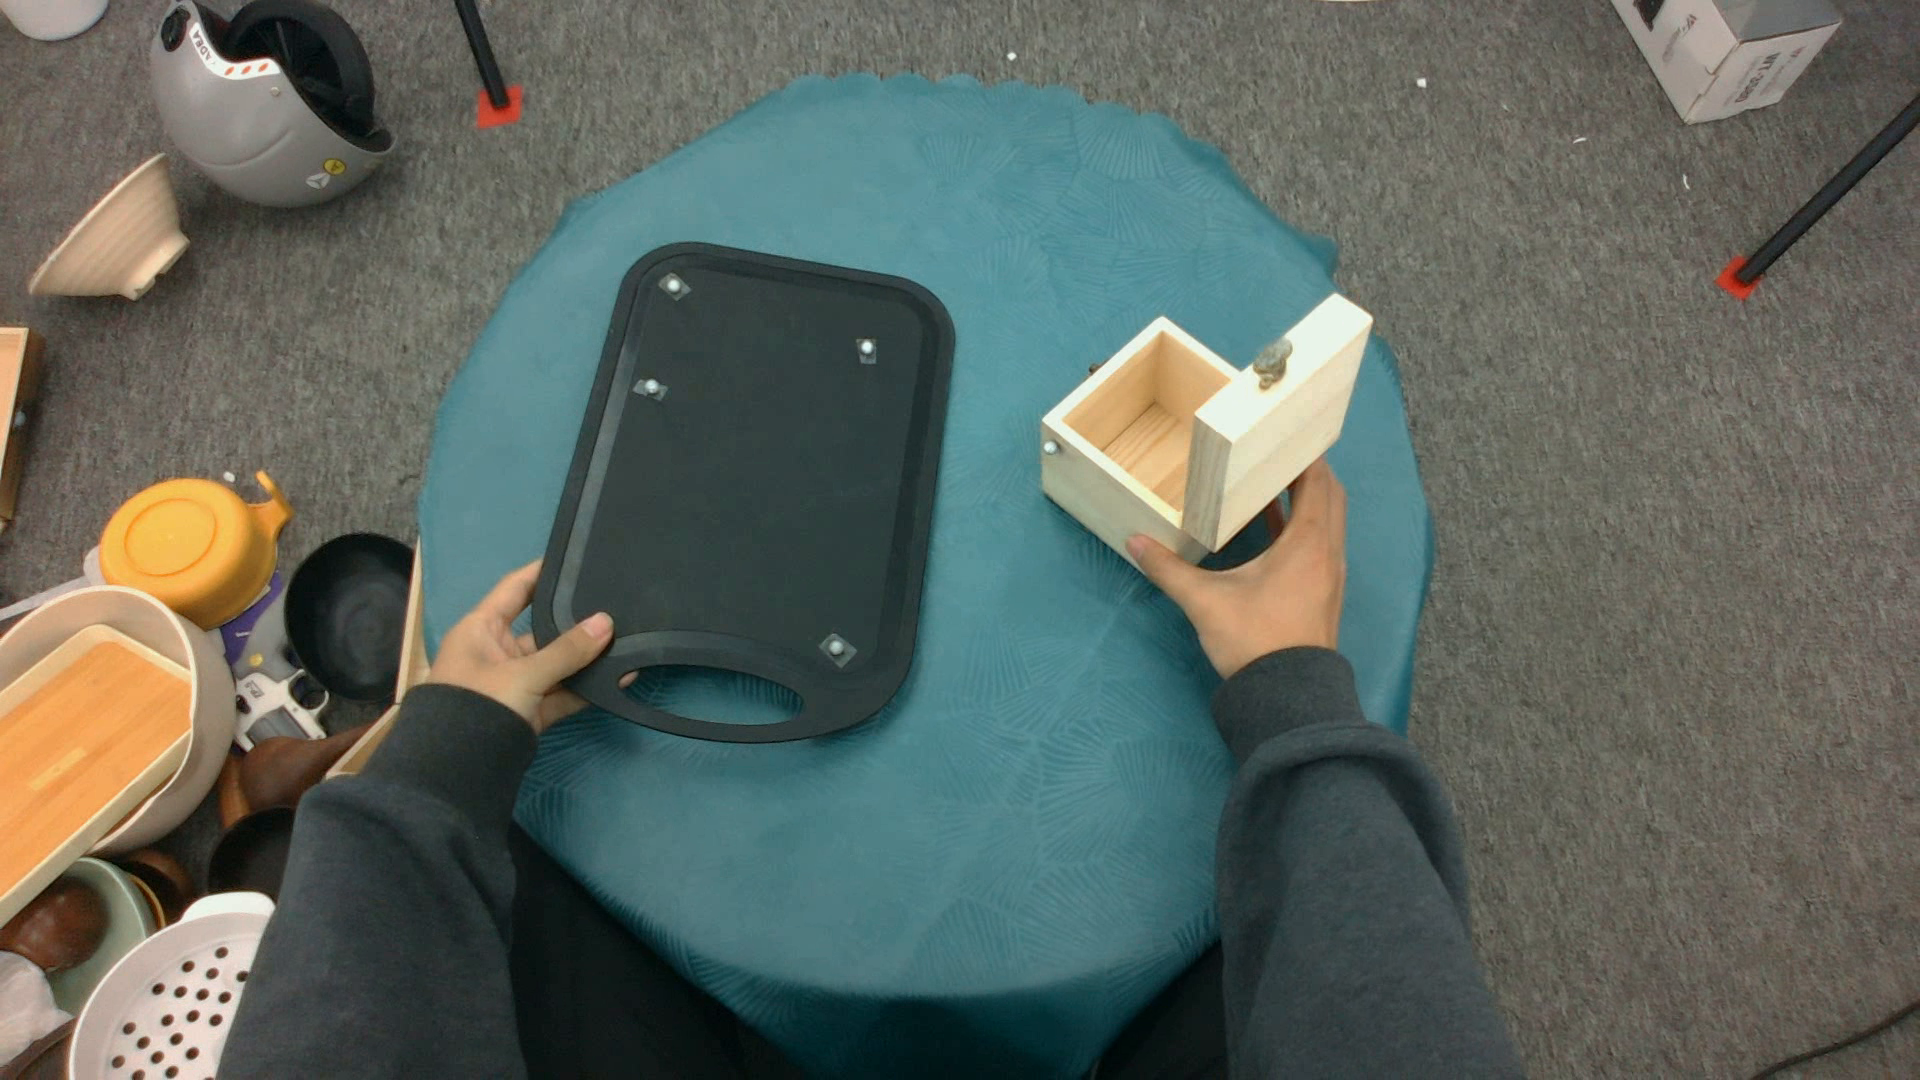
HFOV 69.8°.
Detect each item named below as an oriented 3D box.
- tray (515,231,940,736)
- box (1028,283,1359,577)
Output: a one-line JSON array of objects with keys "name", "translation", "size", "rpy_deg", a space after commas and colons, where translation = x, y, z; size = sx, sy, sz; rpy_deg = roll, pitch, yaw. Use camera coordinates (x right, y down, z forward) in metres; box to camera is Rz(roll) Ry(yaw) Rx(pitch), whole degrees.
[{"name": "tray", "translation": [-0.127, -0.043, 0.801], "size": [0.211, 0.010, 0.327], "rpy_deg": [9, 62, -5]}, {"name": "box", "translation": [0.115, -0.077, 0.740], "size": [0.134, 0.184, 0.103], "rpy_deg": [40, 70, 20]}]
